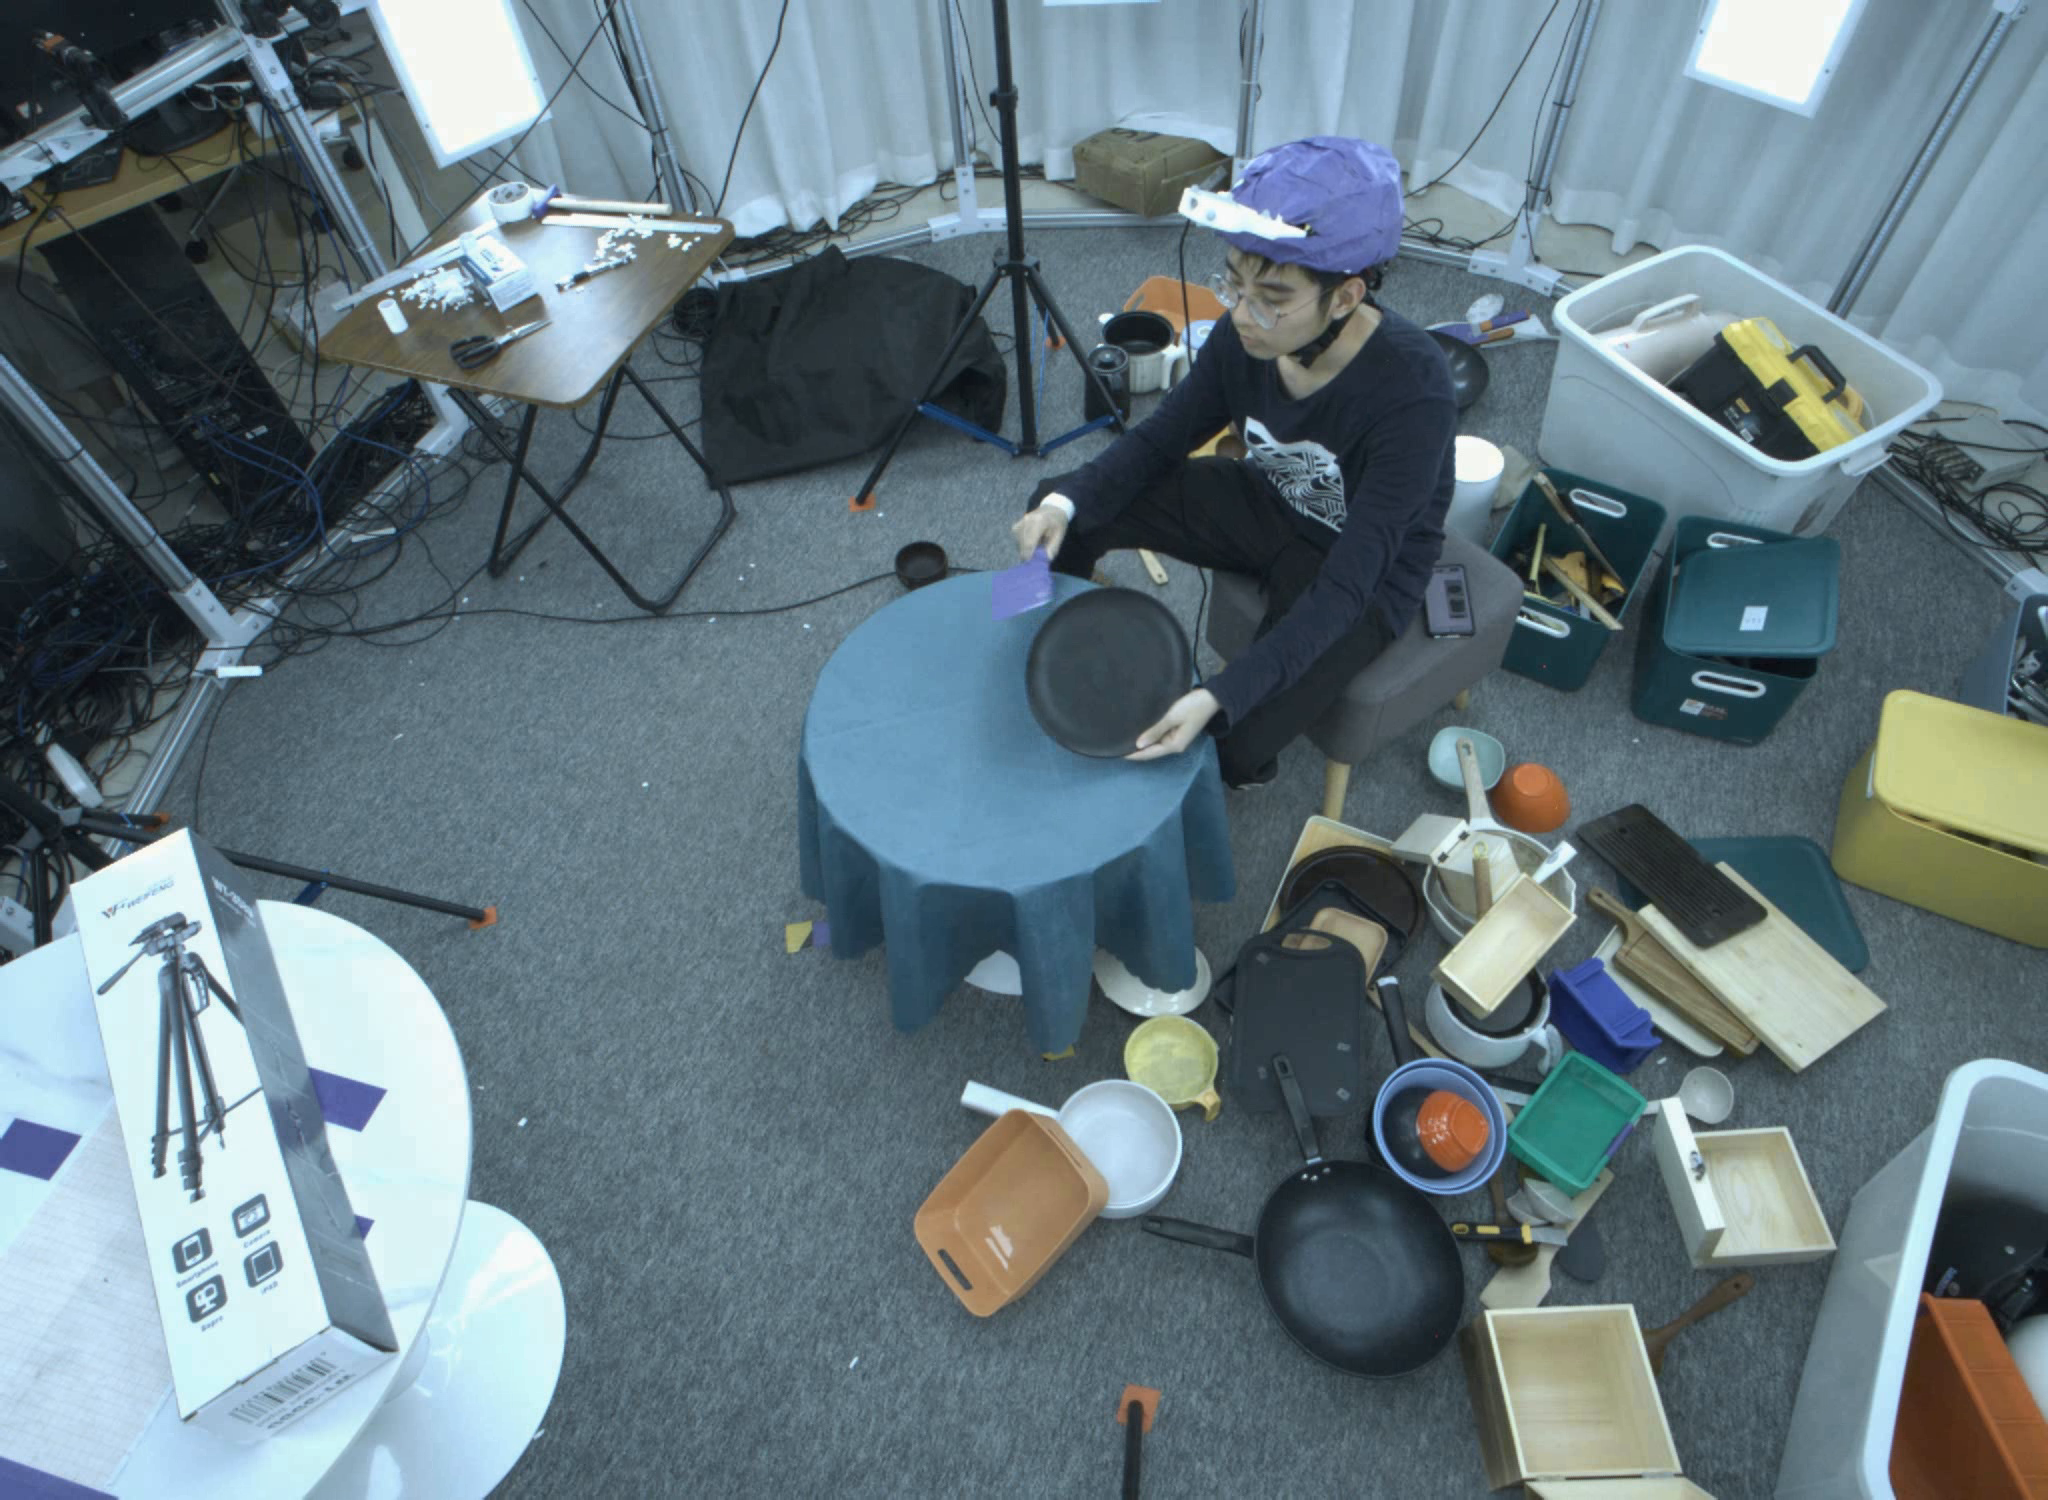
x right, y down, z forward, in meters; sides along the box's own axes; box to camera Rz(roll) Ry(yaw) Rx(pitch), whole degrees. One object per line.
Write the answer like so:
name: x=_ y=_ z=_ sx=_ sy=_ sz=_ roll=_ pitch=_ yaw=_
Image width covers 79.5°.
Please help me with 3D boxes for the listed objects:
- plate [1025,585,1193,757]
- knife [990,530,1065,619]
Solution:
plate: x=0.119 y=-0.111 z=1.727 sx=0.246 sy=0.246 sz=0.023 roll=-16 pitch=18 yaw=-9
knife: x=-0.002 y=-0.264 z=1.815 sx=0.103 sy=0.032 sz=0.312 roll=-19 pitch=24 yaw=5
